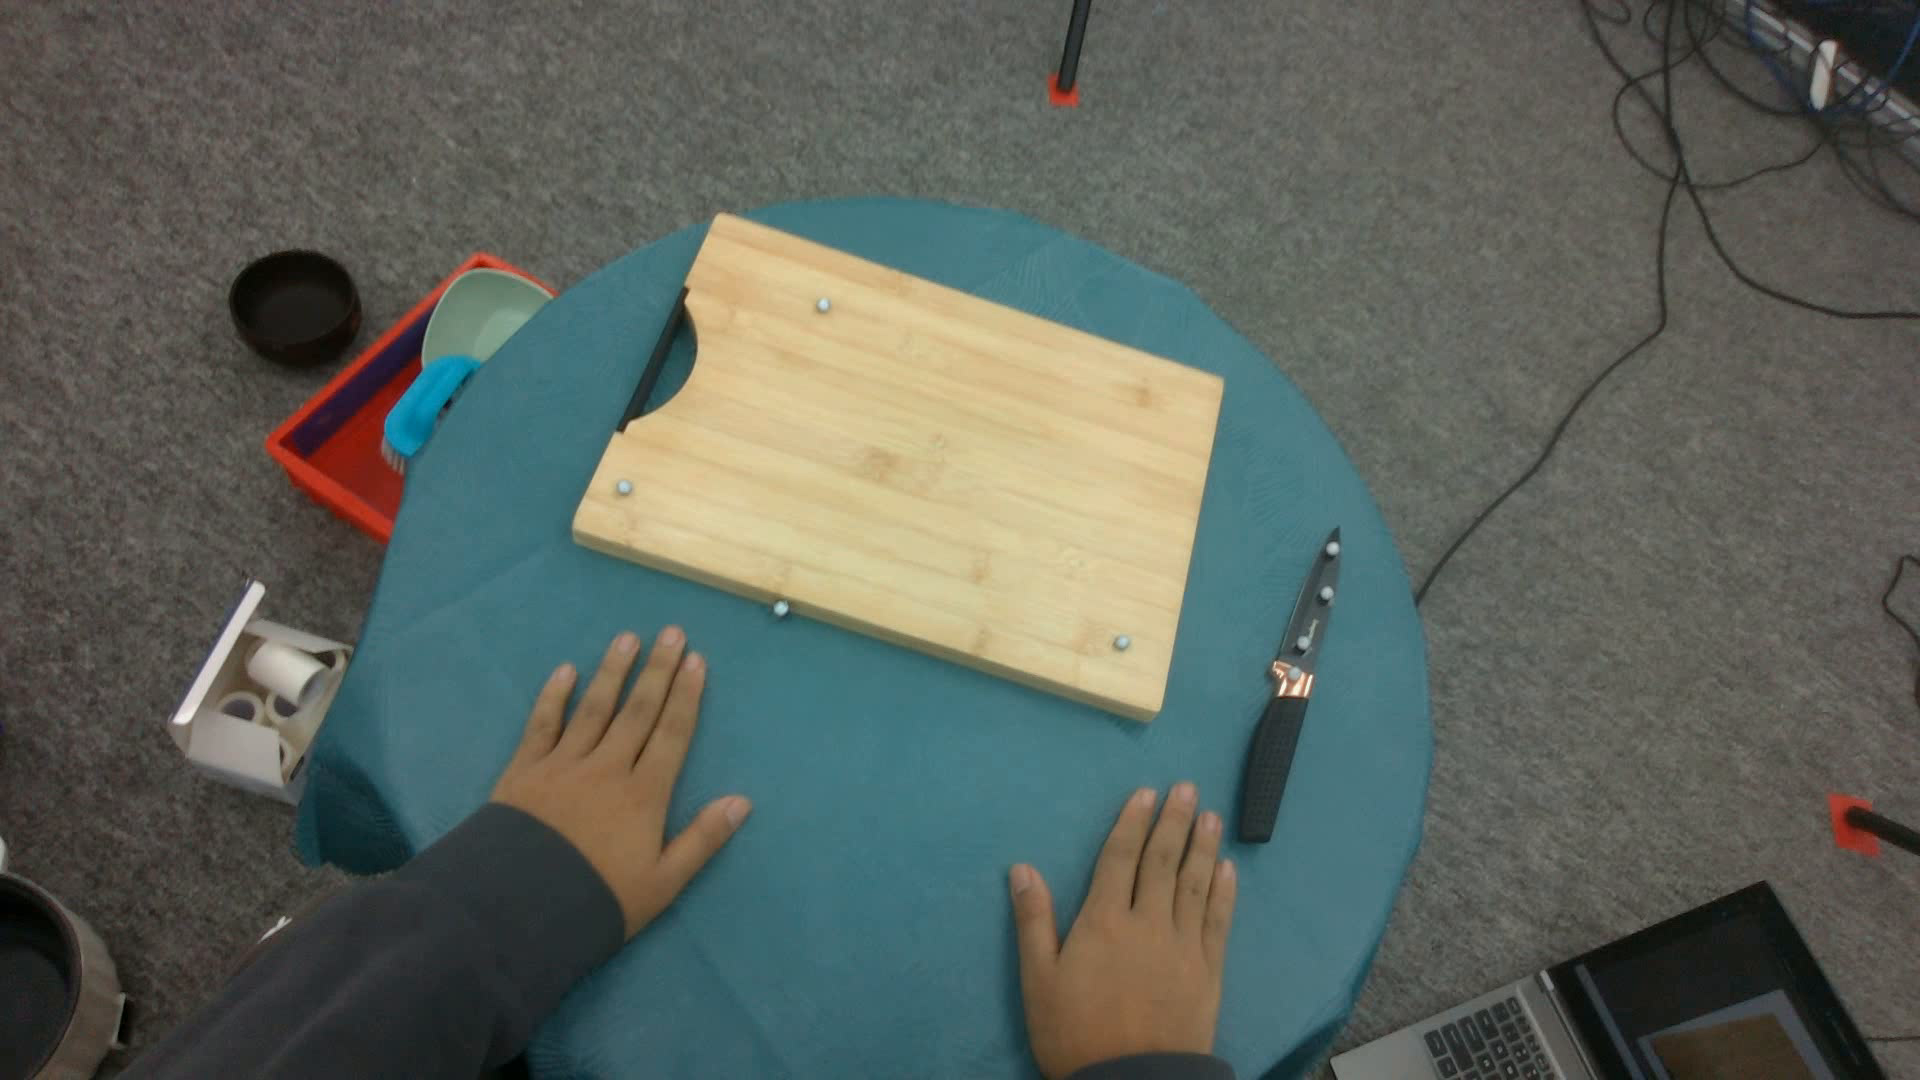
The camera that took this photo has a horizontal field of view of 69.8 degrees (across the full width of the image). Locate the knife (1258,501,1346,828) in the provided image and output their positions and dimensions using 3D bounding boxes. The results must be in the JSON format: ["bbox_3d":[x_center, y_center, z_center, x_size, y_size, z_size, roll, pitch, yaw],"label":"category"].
[{"bbox_3d":[0.208,0.067,0.814,0.026,0.017,0.226,18,58,8],"label":"knife"}]

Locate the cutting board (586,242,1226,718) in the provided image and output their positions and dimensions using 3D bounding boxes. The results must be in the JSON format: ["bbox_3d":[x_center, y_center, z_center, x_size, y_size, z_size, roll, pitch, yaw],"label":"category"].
[{"bbox_3d":[-0.019,-0.044,0.837,0.349,0.023,0.252,13,59,-2],"label":"cutting board"}]
